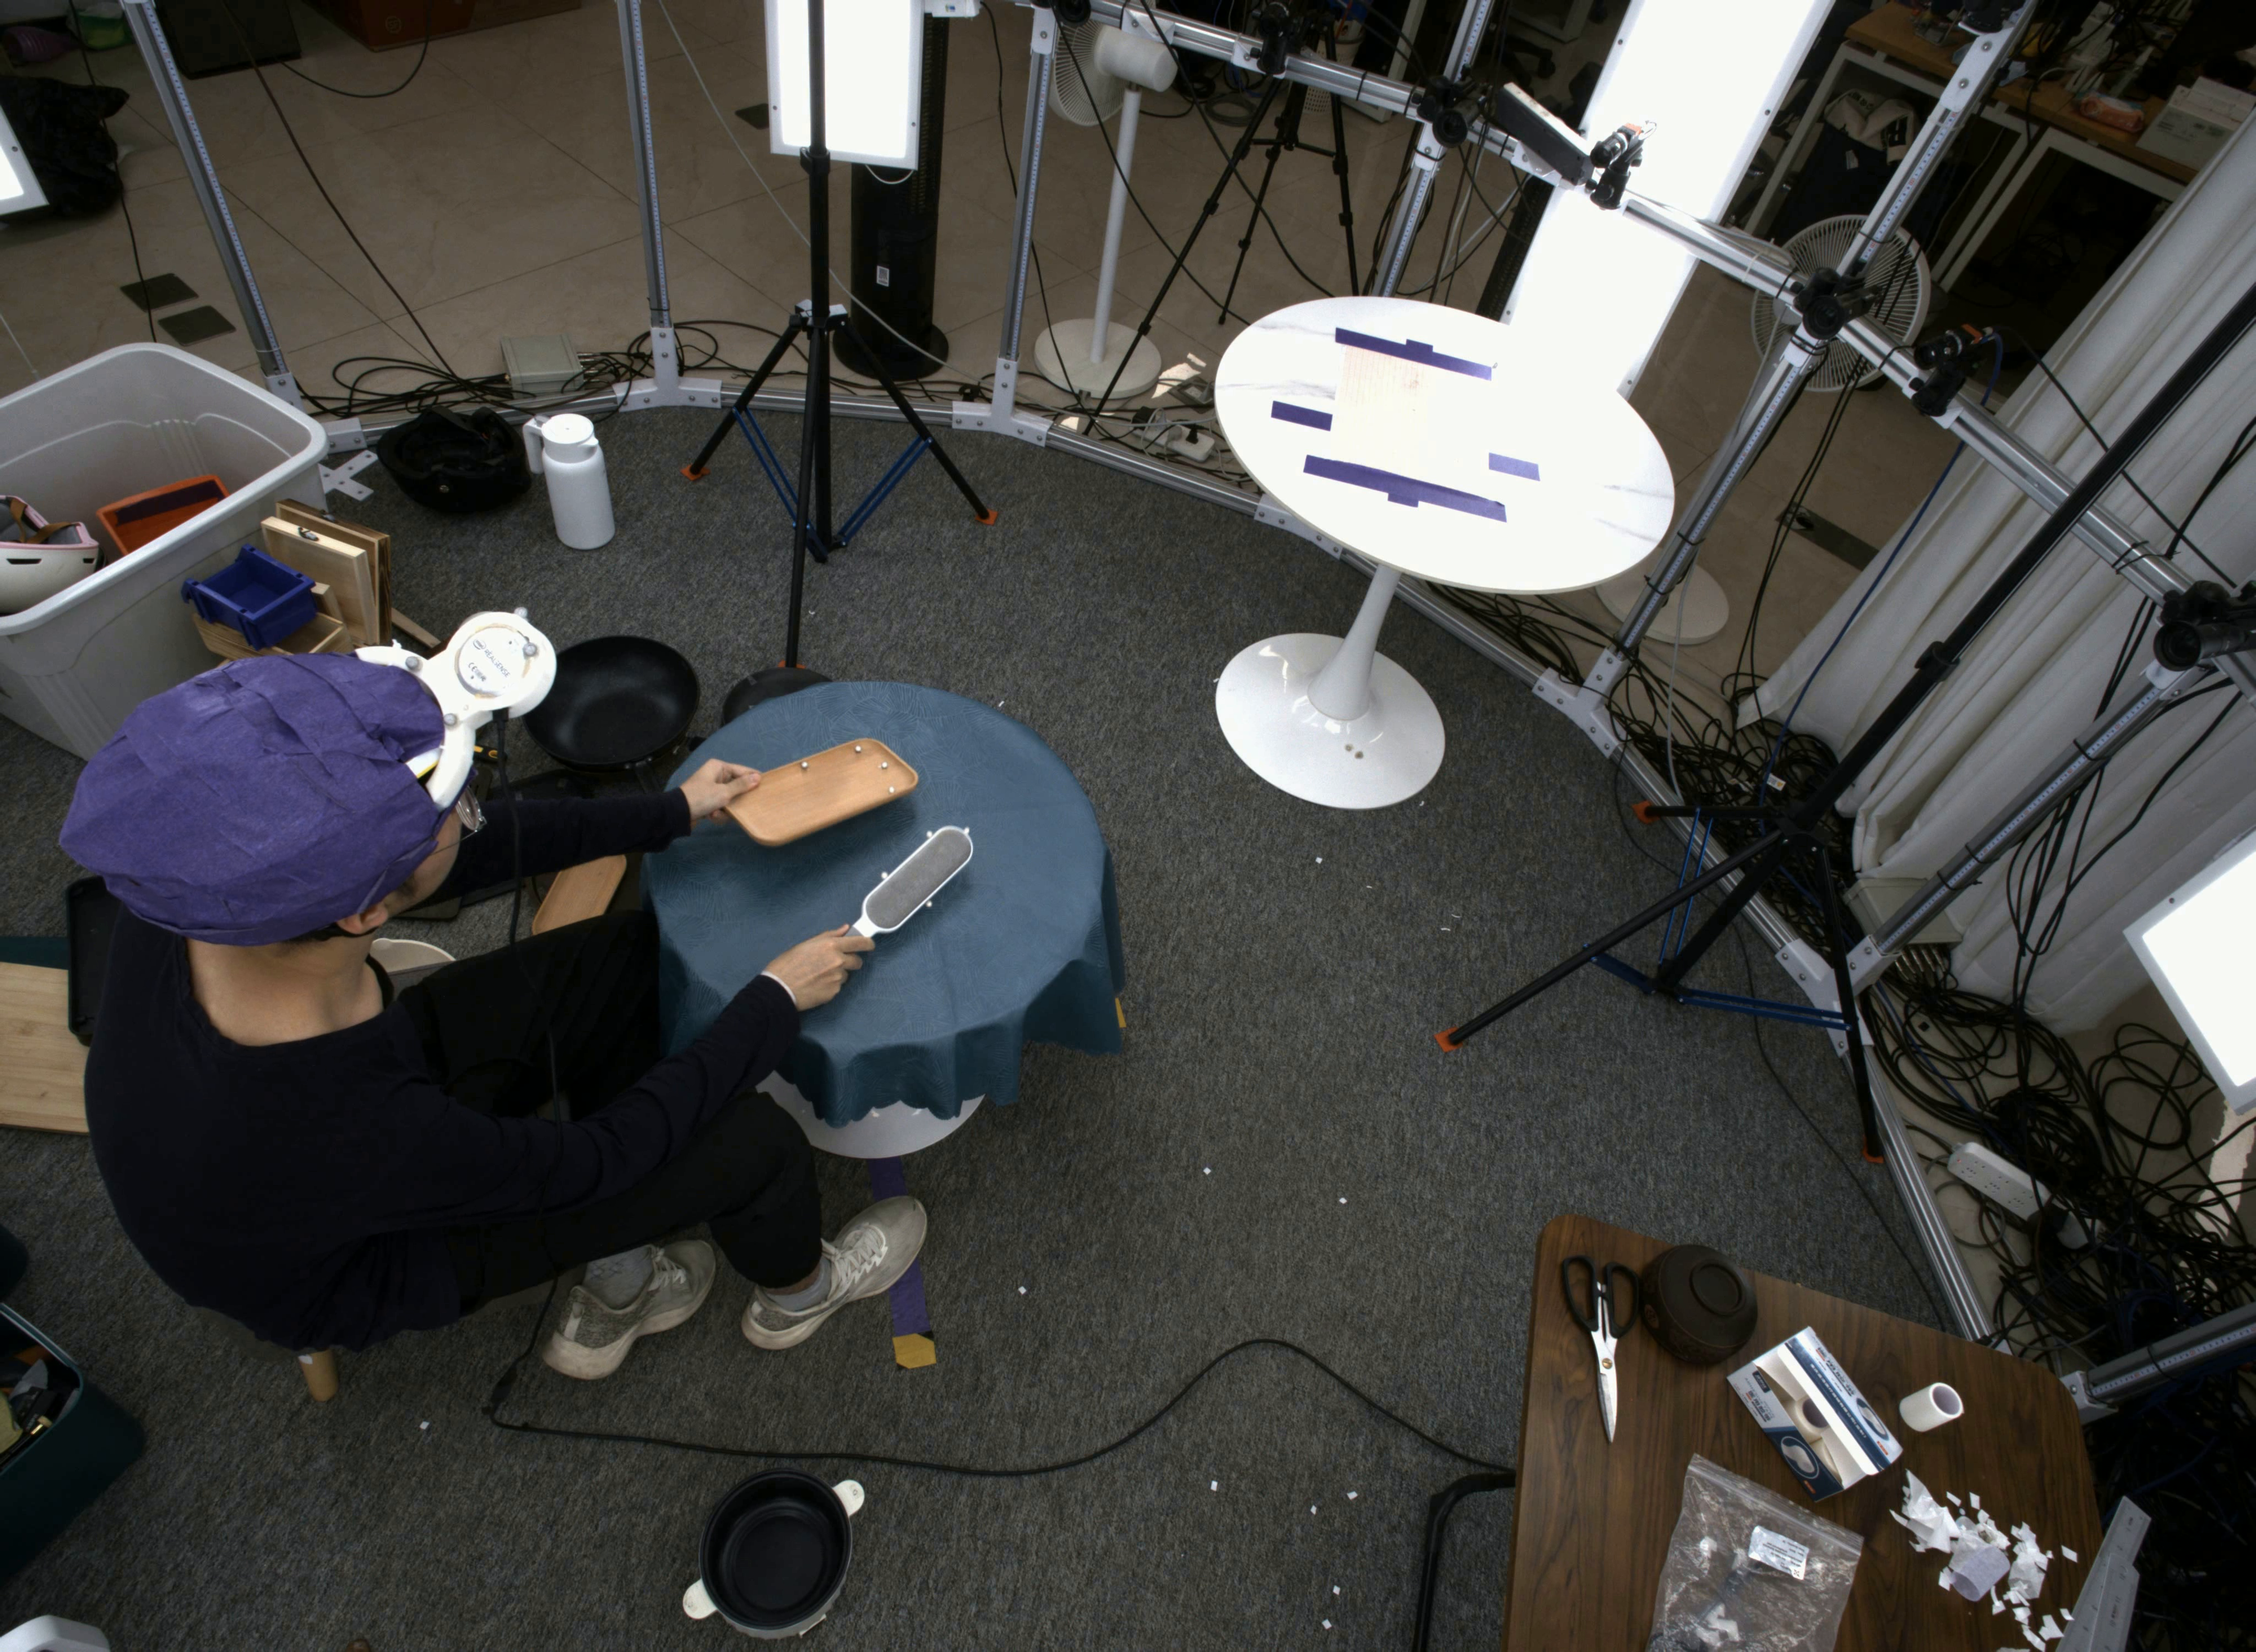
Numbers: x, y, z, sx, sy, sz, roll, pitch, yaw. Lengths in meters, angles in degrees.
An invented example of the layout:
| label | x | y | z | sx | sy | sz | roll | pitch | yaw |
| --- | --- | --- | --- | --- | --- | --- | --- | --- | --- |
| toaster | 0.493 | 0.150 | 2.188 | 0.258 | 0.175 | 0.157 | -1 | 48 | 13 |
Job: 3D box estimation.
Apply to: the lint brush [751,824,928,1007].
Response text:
| label | x | y | z | sx | sy | sz | roll | pitch | yaw |
| --- | --- | --- | --- | --- | --- | --- | --- | --- | --- |
| lint brush | -0.358 | 0.106 | 1.614 | 0.061 | 0.020 | 0.308 | 48 | 59 | -13 |

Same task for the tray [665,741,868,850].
| label | x | y | z | sx | sy | sz | roll | pitch | yaw |
| --- | --- | --- | --- | --- | --- | --- | --- | --- | --- |
| tray | -0.466 | -0.043 | 1.677 | 0.252 | 0.023 | 0.126 | -26 | 50 | -38 |
